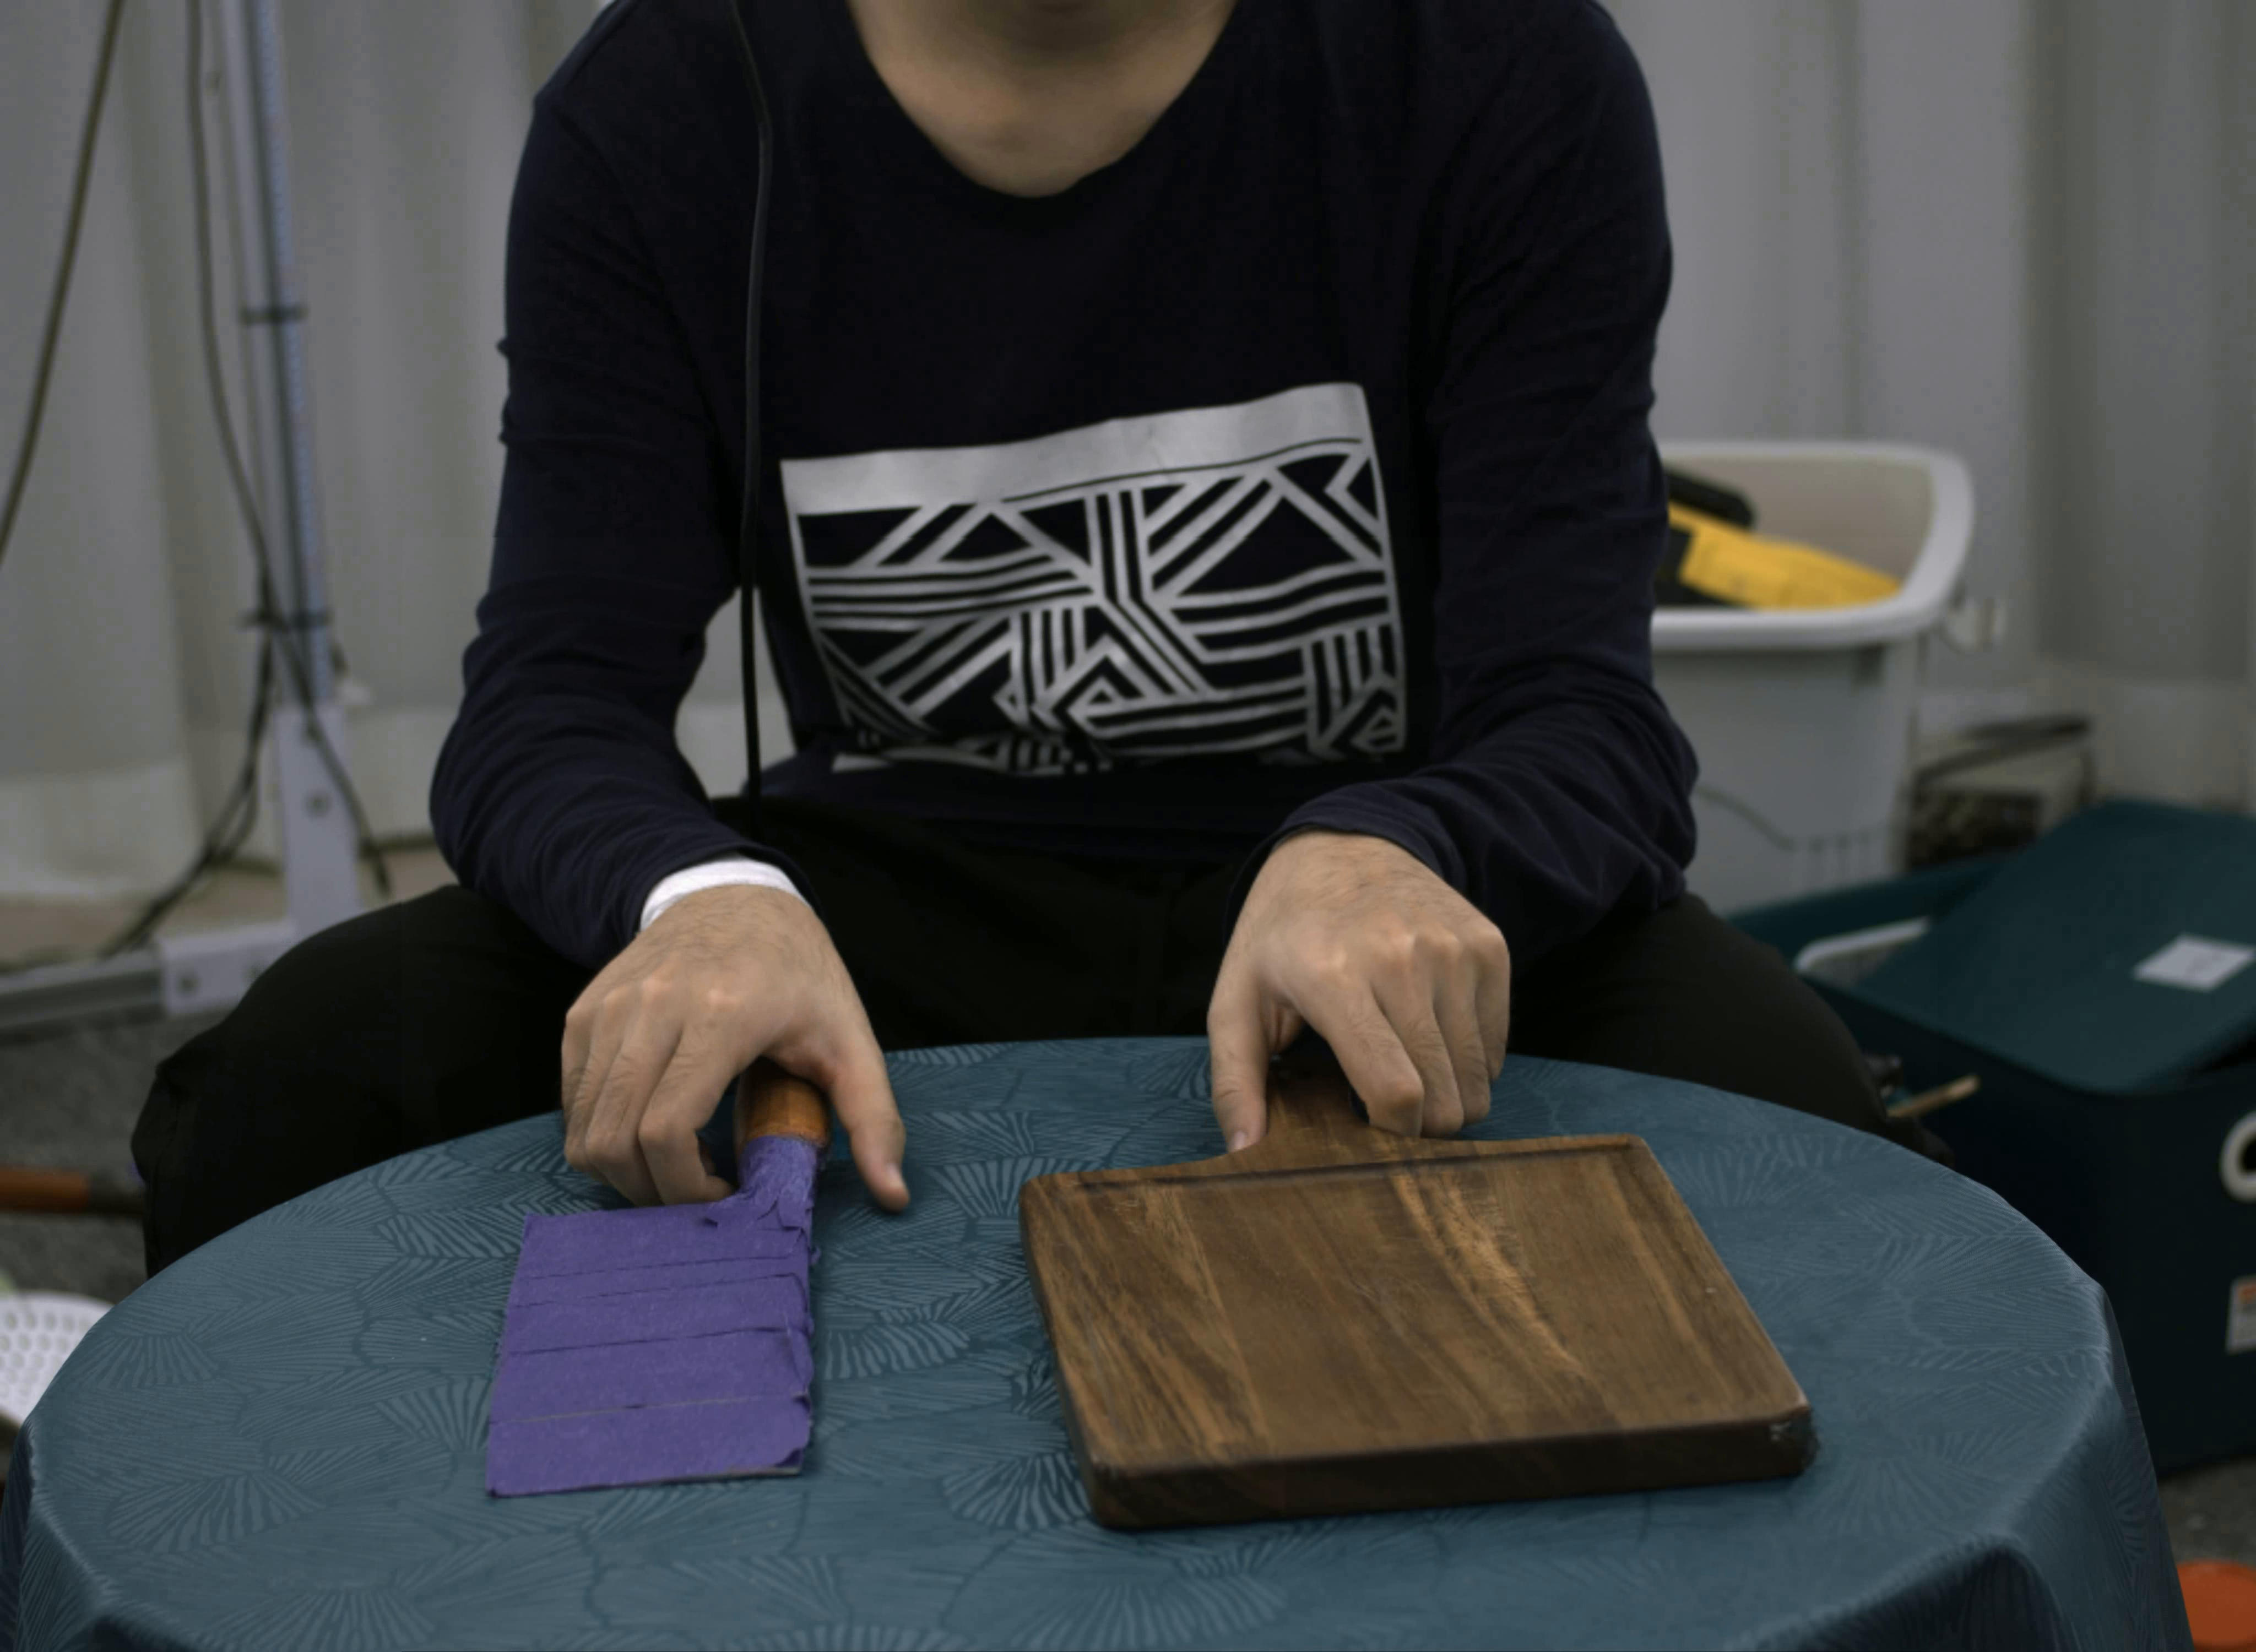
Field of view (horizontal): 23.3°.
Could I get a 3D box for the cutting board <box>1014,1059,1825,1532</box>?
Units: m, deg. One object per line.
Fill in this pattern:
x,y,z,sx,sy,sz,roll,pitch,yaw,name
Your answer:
0.071,0.128,1.613,0.200,0.023,0.354,-4,14,-5,cutting board

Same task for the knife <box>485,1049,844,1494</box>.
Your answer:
-0.138,0.129,1.637,0.103,0.032,0.317,-4,15,-2,knife
